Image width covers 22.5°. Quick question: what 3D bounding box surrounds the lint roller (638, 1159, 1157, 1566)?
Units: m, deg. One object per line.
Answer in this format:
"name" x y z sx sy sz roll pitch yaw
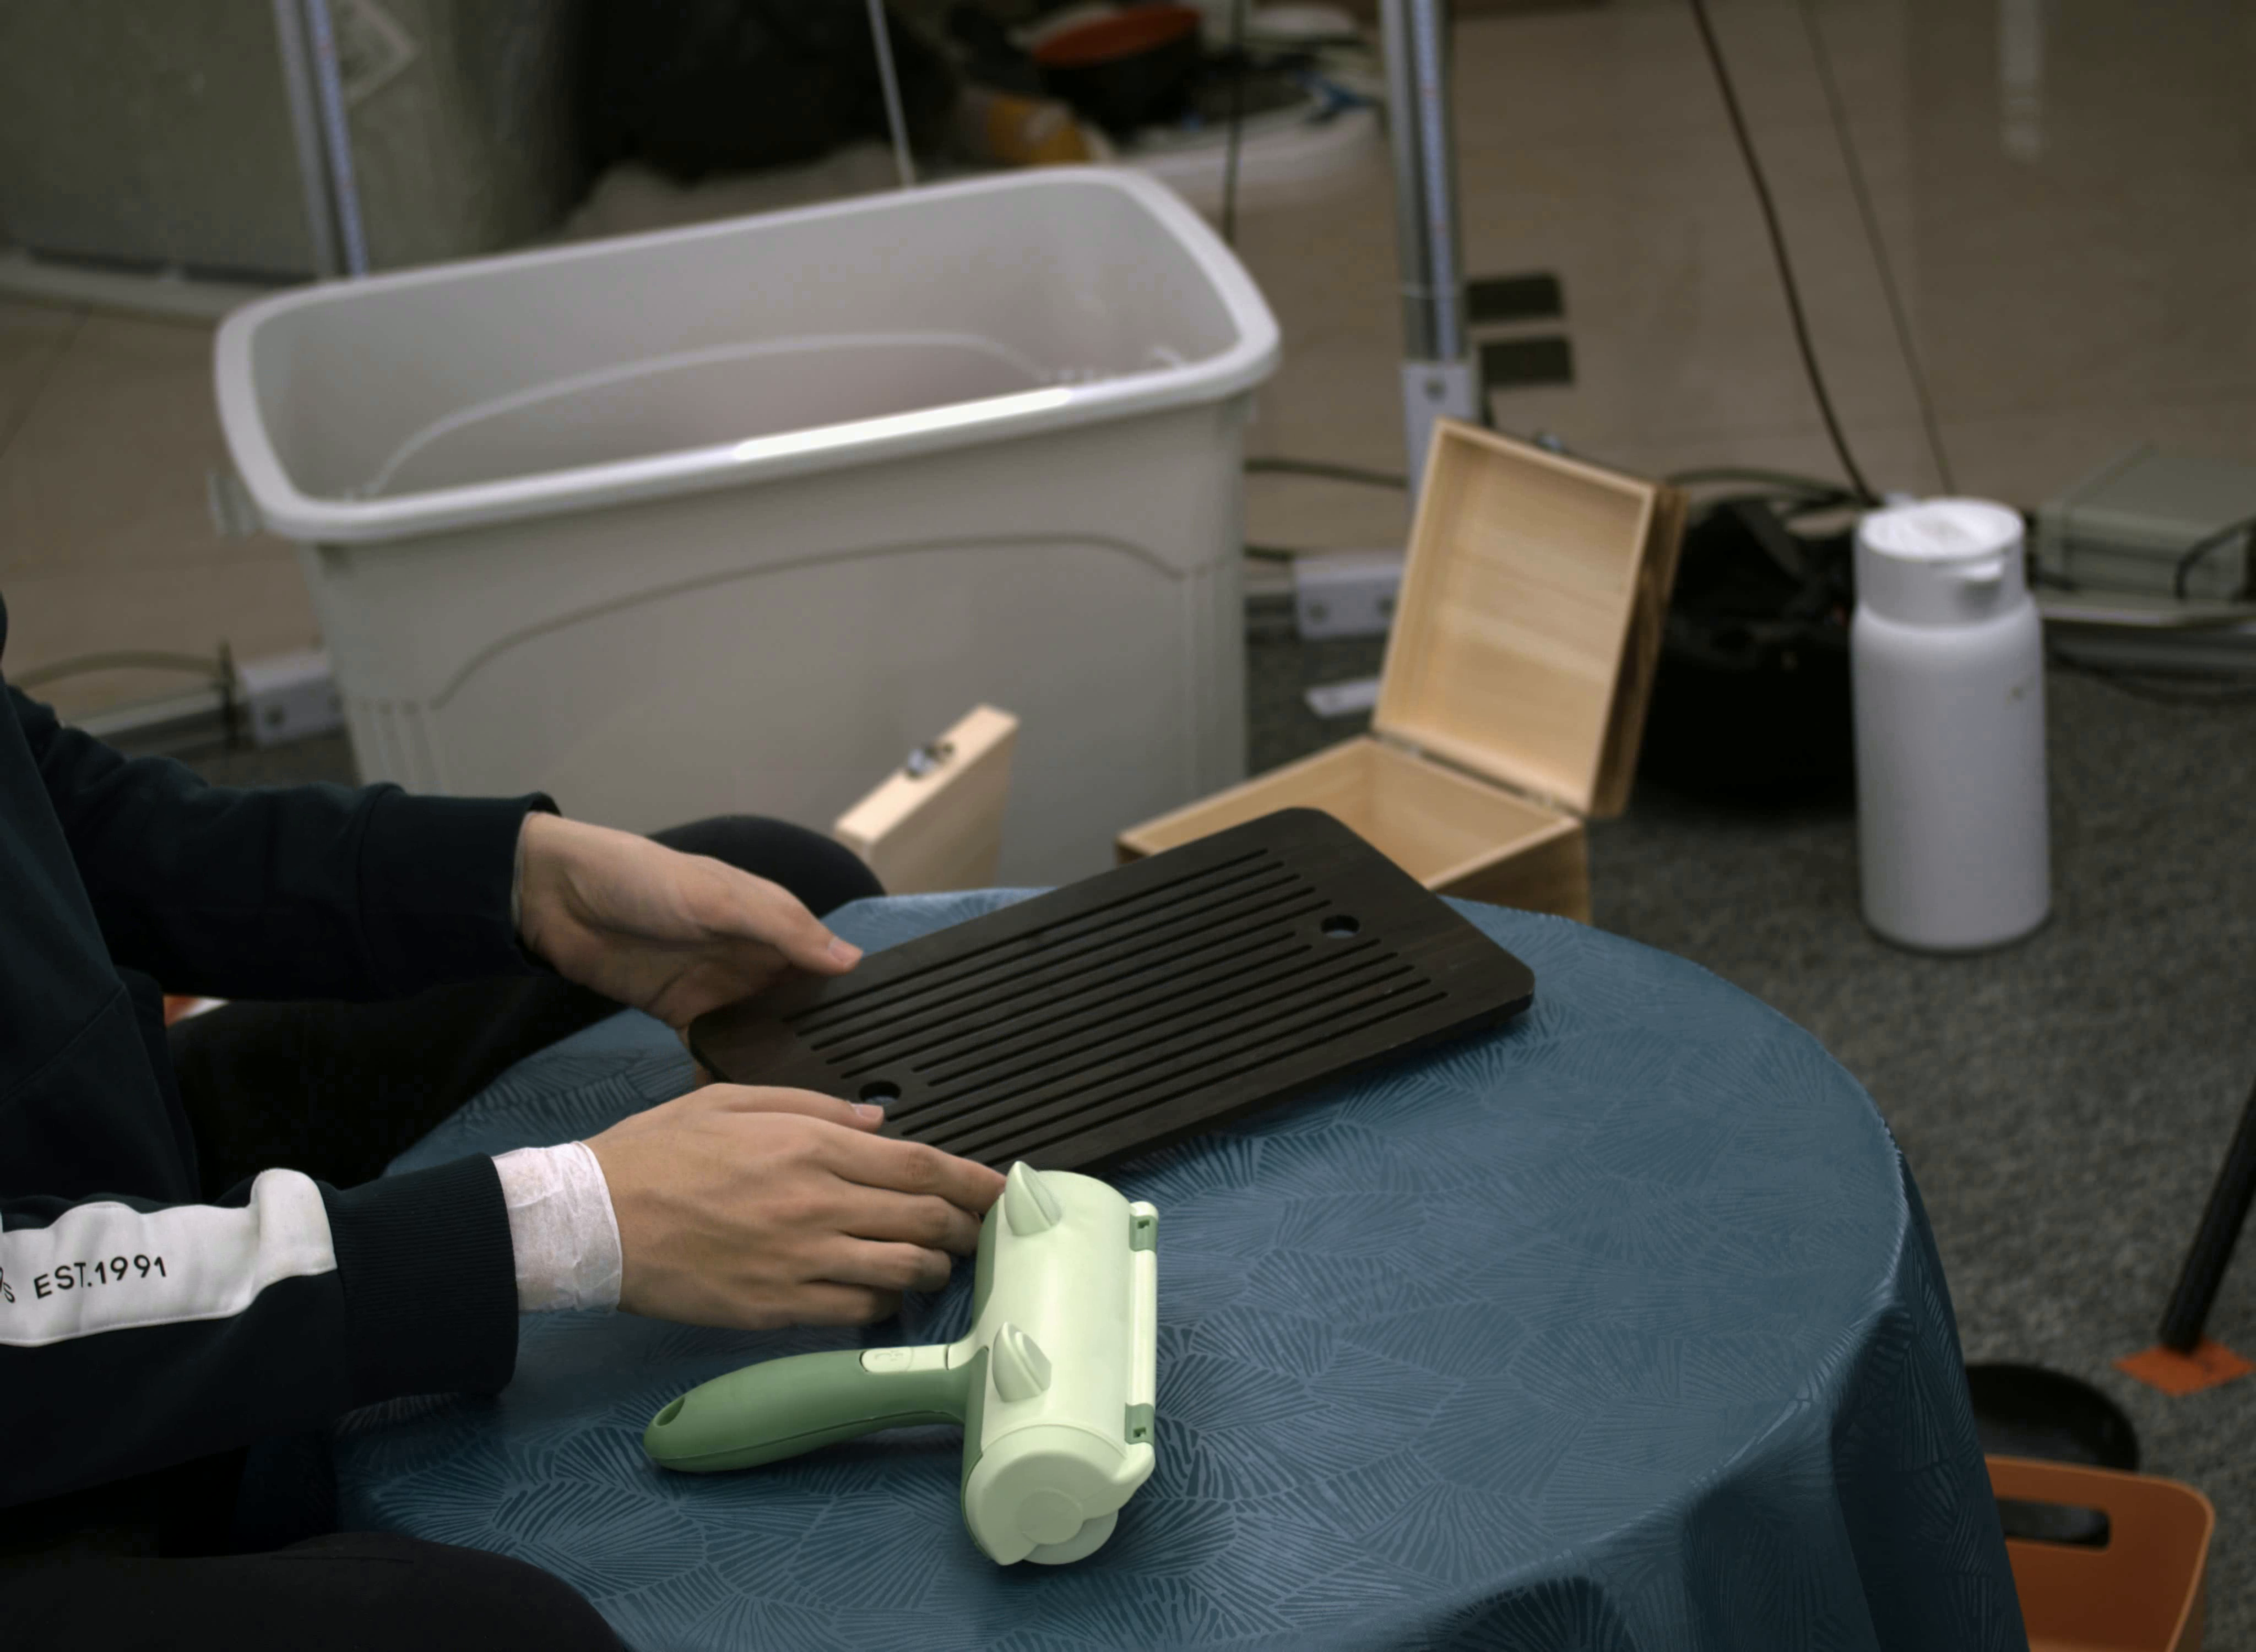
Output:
"lint roller" -0.082 0.182 1.976 0.183 0.083 0.195 -2 25 2

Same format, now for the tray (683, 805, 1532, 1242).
"tray" -0.007 0.076 2.229 0.304 0.019 0.168 -20 37 -27
